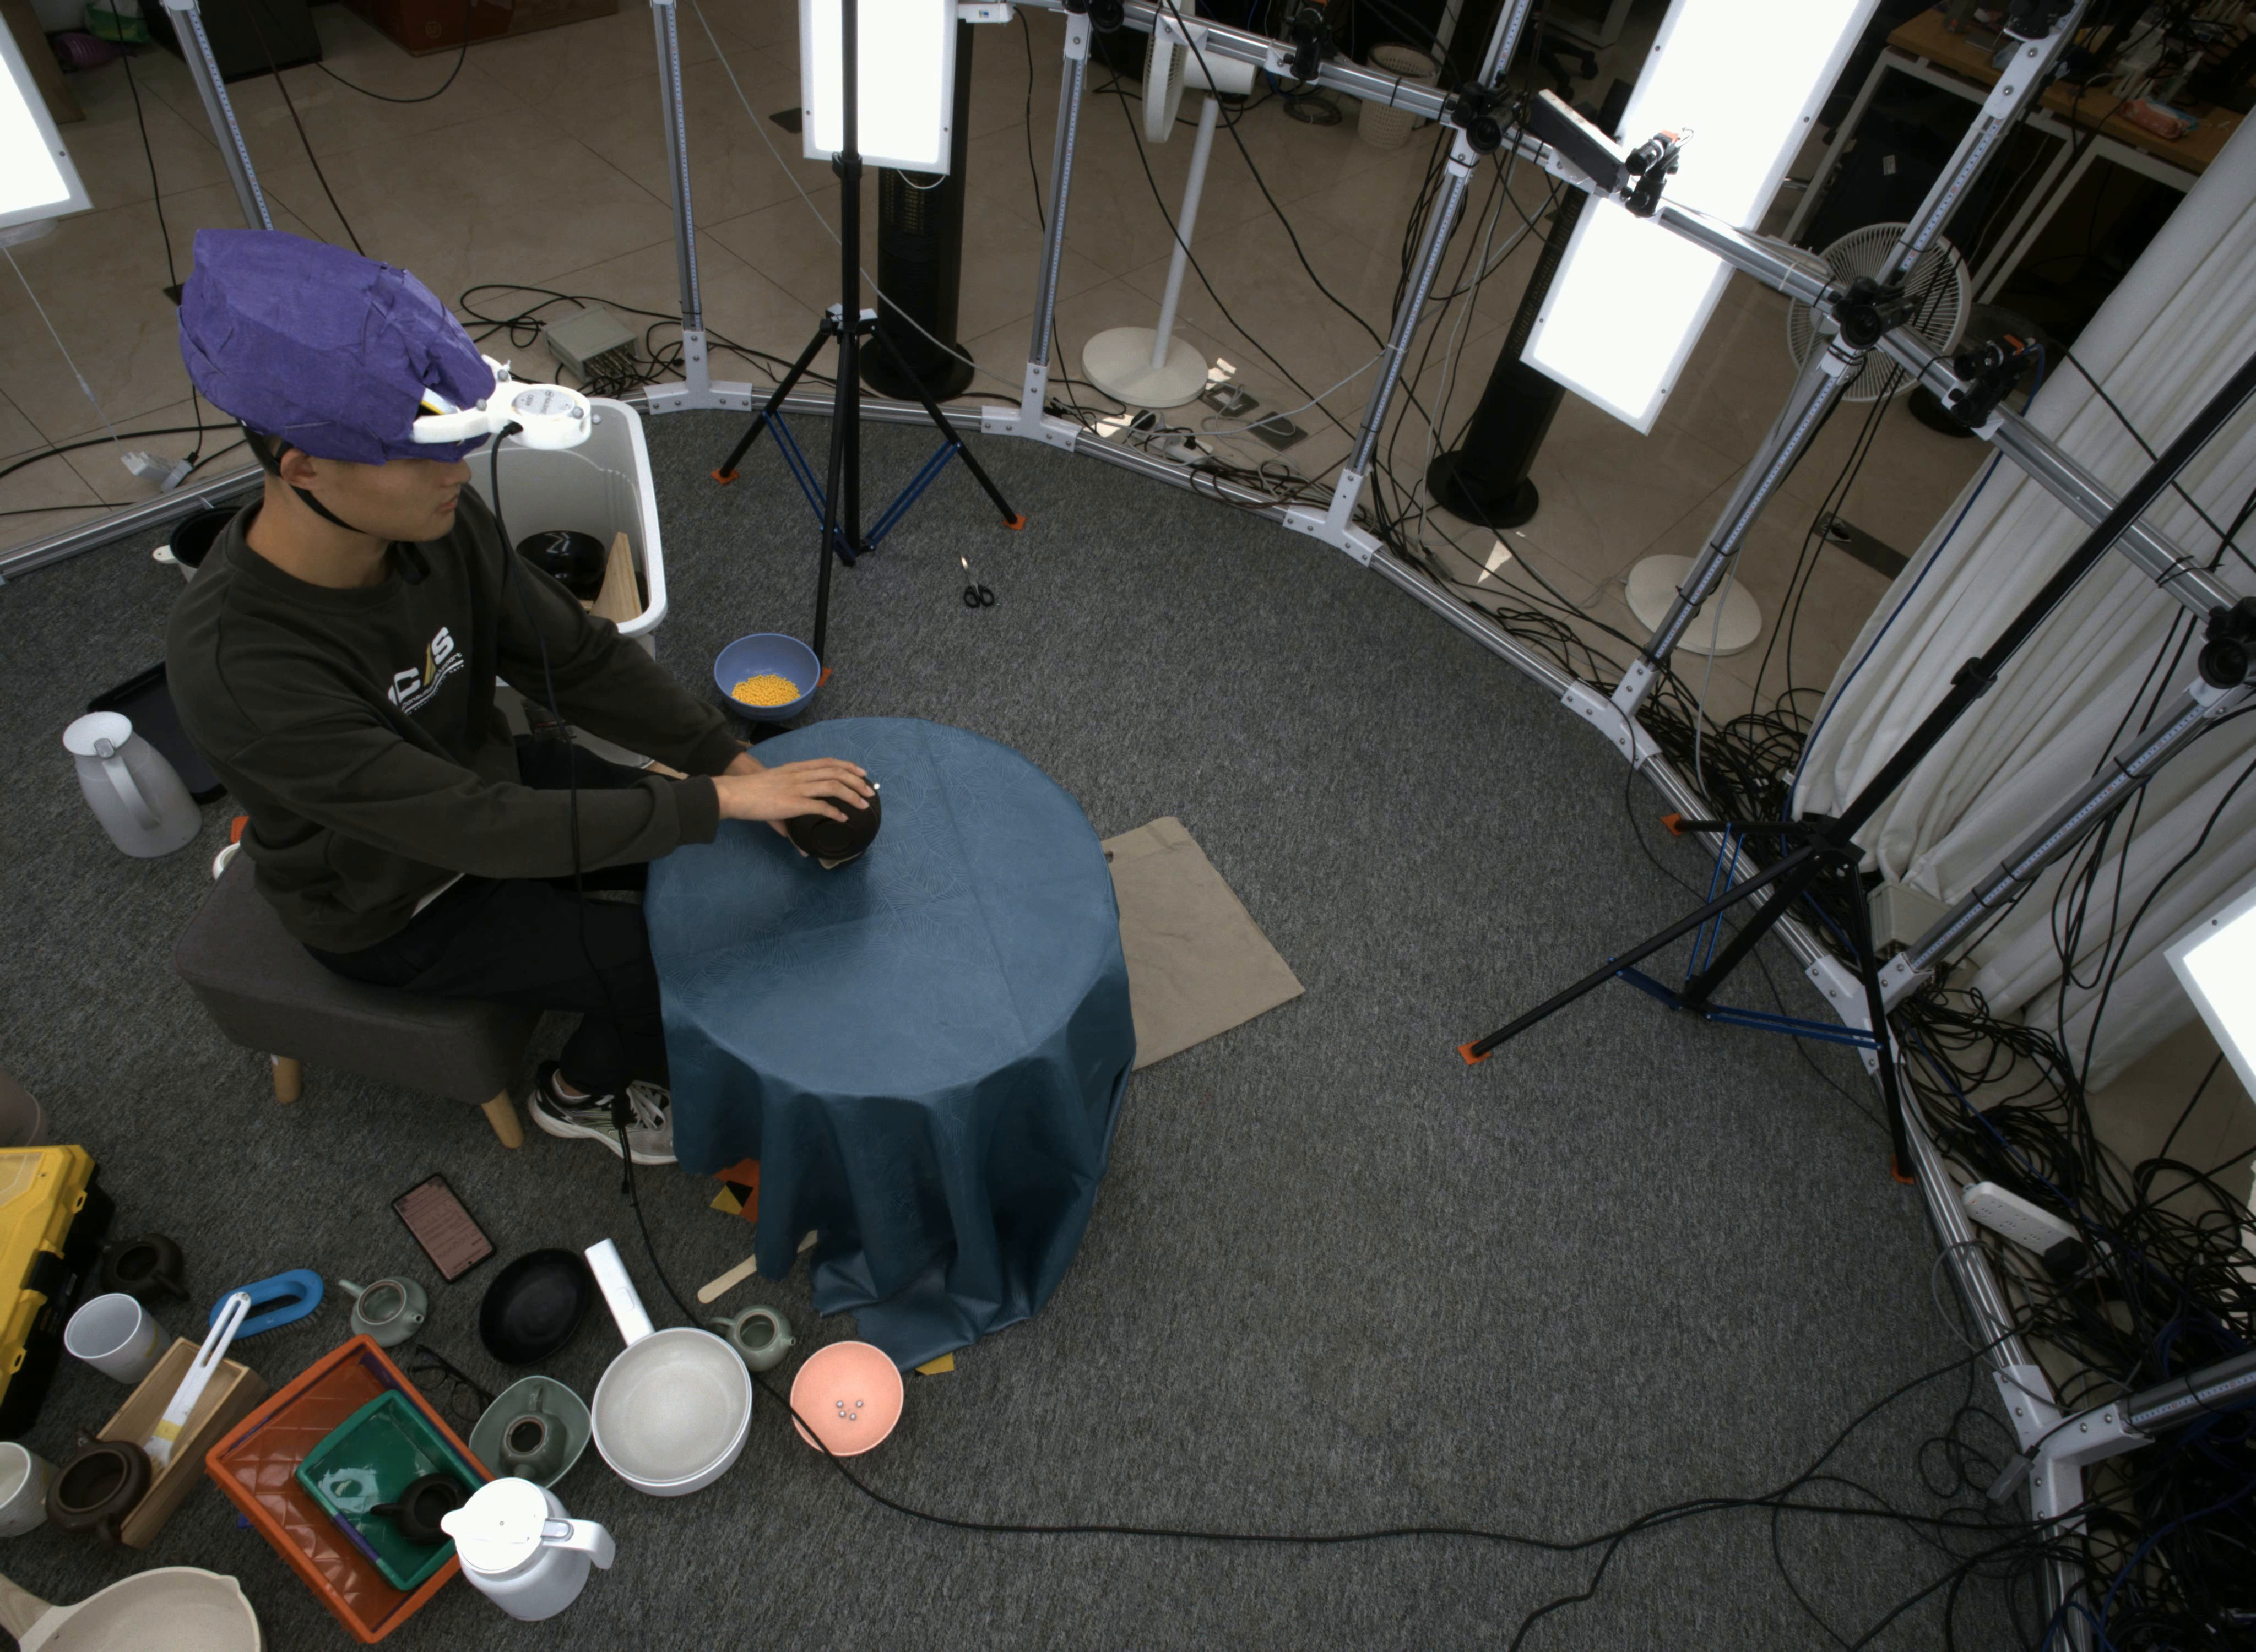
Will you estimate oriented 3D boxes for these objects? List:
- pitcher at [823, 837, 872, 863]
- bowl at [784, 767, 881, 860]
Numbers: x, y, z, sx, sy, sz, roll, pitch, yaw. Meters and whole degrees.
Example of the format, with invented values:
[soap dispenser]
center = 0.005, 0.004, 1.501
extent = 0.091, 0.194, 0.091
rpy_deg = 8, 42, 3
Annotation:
[pitcher]
center = -0.375, 0.011, 1.689
extent = 0.083, 0.072, 0.096
rpy_deg = 19, 71, -5
[bowl]
center = -0.362, -0.007, 1.596
extent = 0.118, 0.121, 0.068
rpy_deg = -4, 43, -15
